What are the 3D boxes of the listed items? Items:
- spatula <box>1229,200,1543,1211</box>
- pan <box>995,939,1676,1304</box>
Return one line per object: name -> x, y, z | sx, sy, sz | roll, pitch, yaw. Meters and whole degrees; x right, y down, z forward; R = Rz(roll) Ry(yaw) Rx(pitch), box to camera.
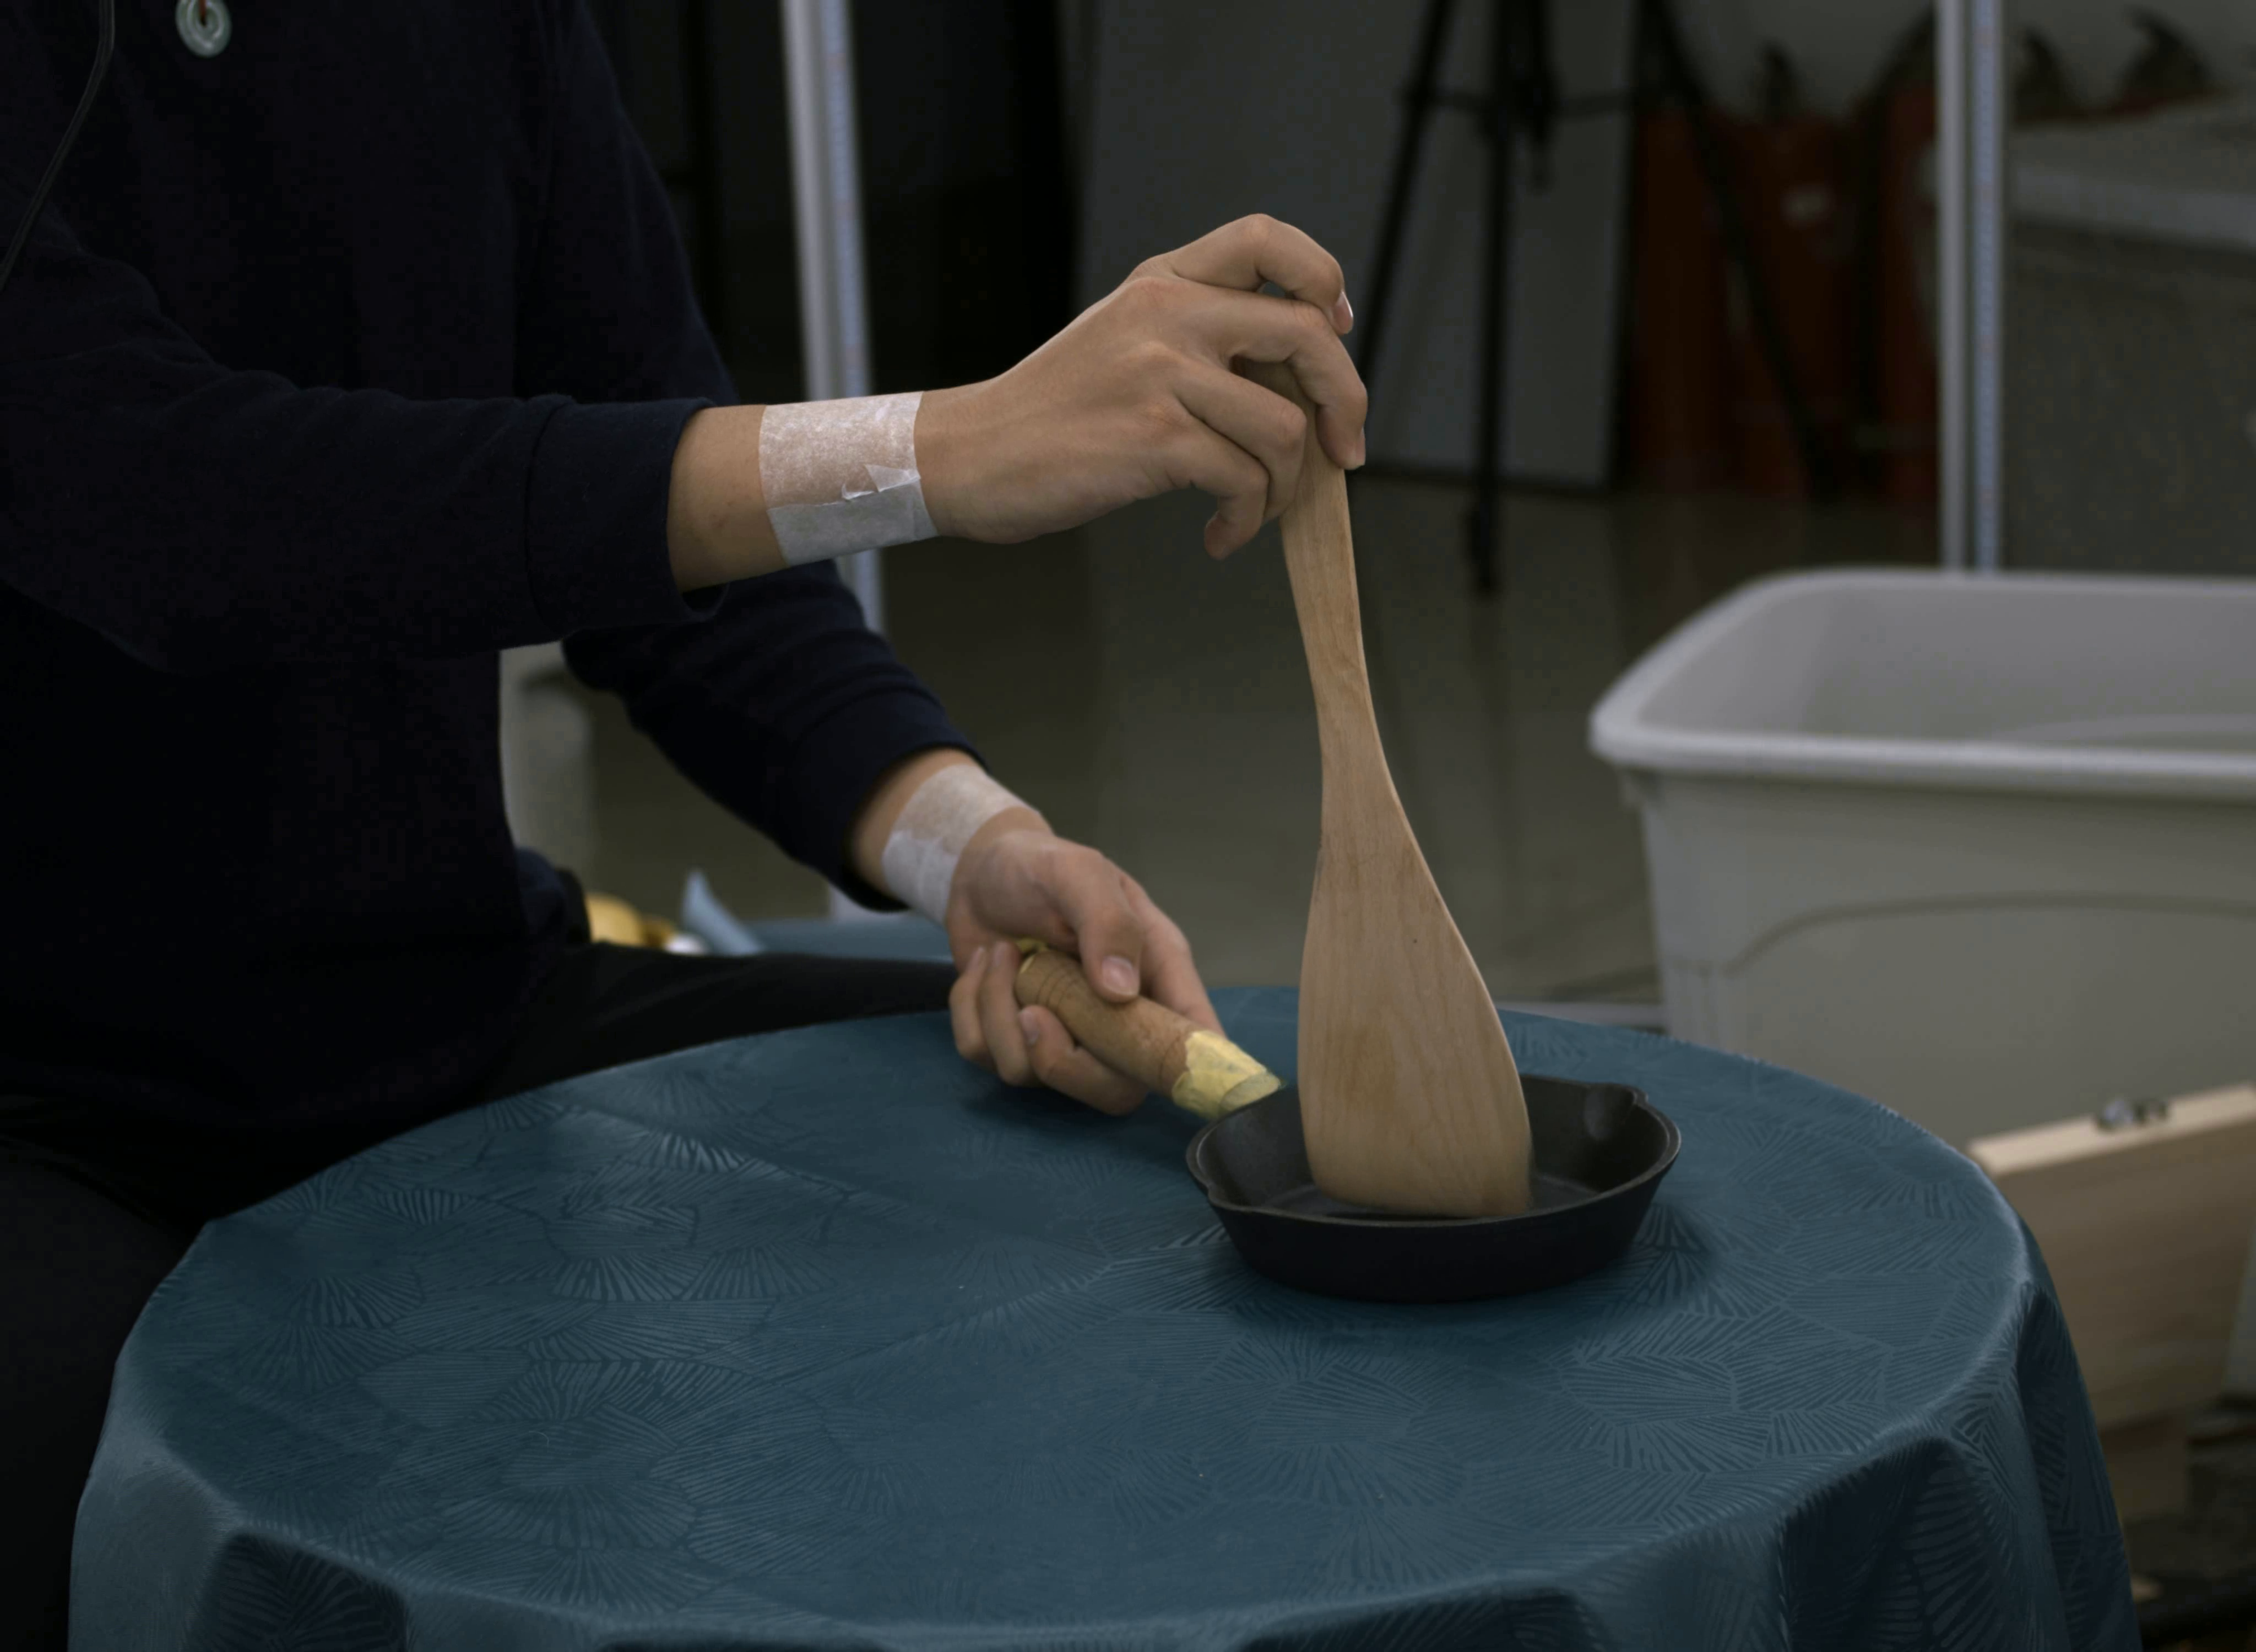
spatula -> 0.069, -0.032, 1.699 | 0.080, 0.331, 0.016 | -8, 4, 24
pan -> 0.050, 0.092, 1.766 | 0.165, 0.050, 0.328 | -12, 17, -30
